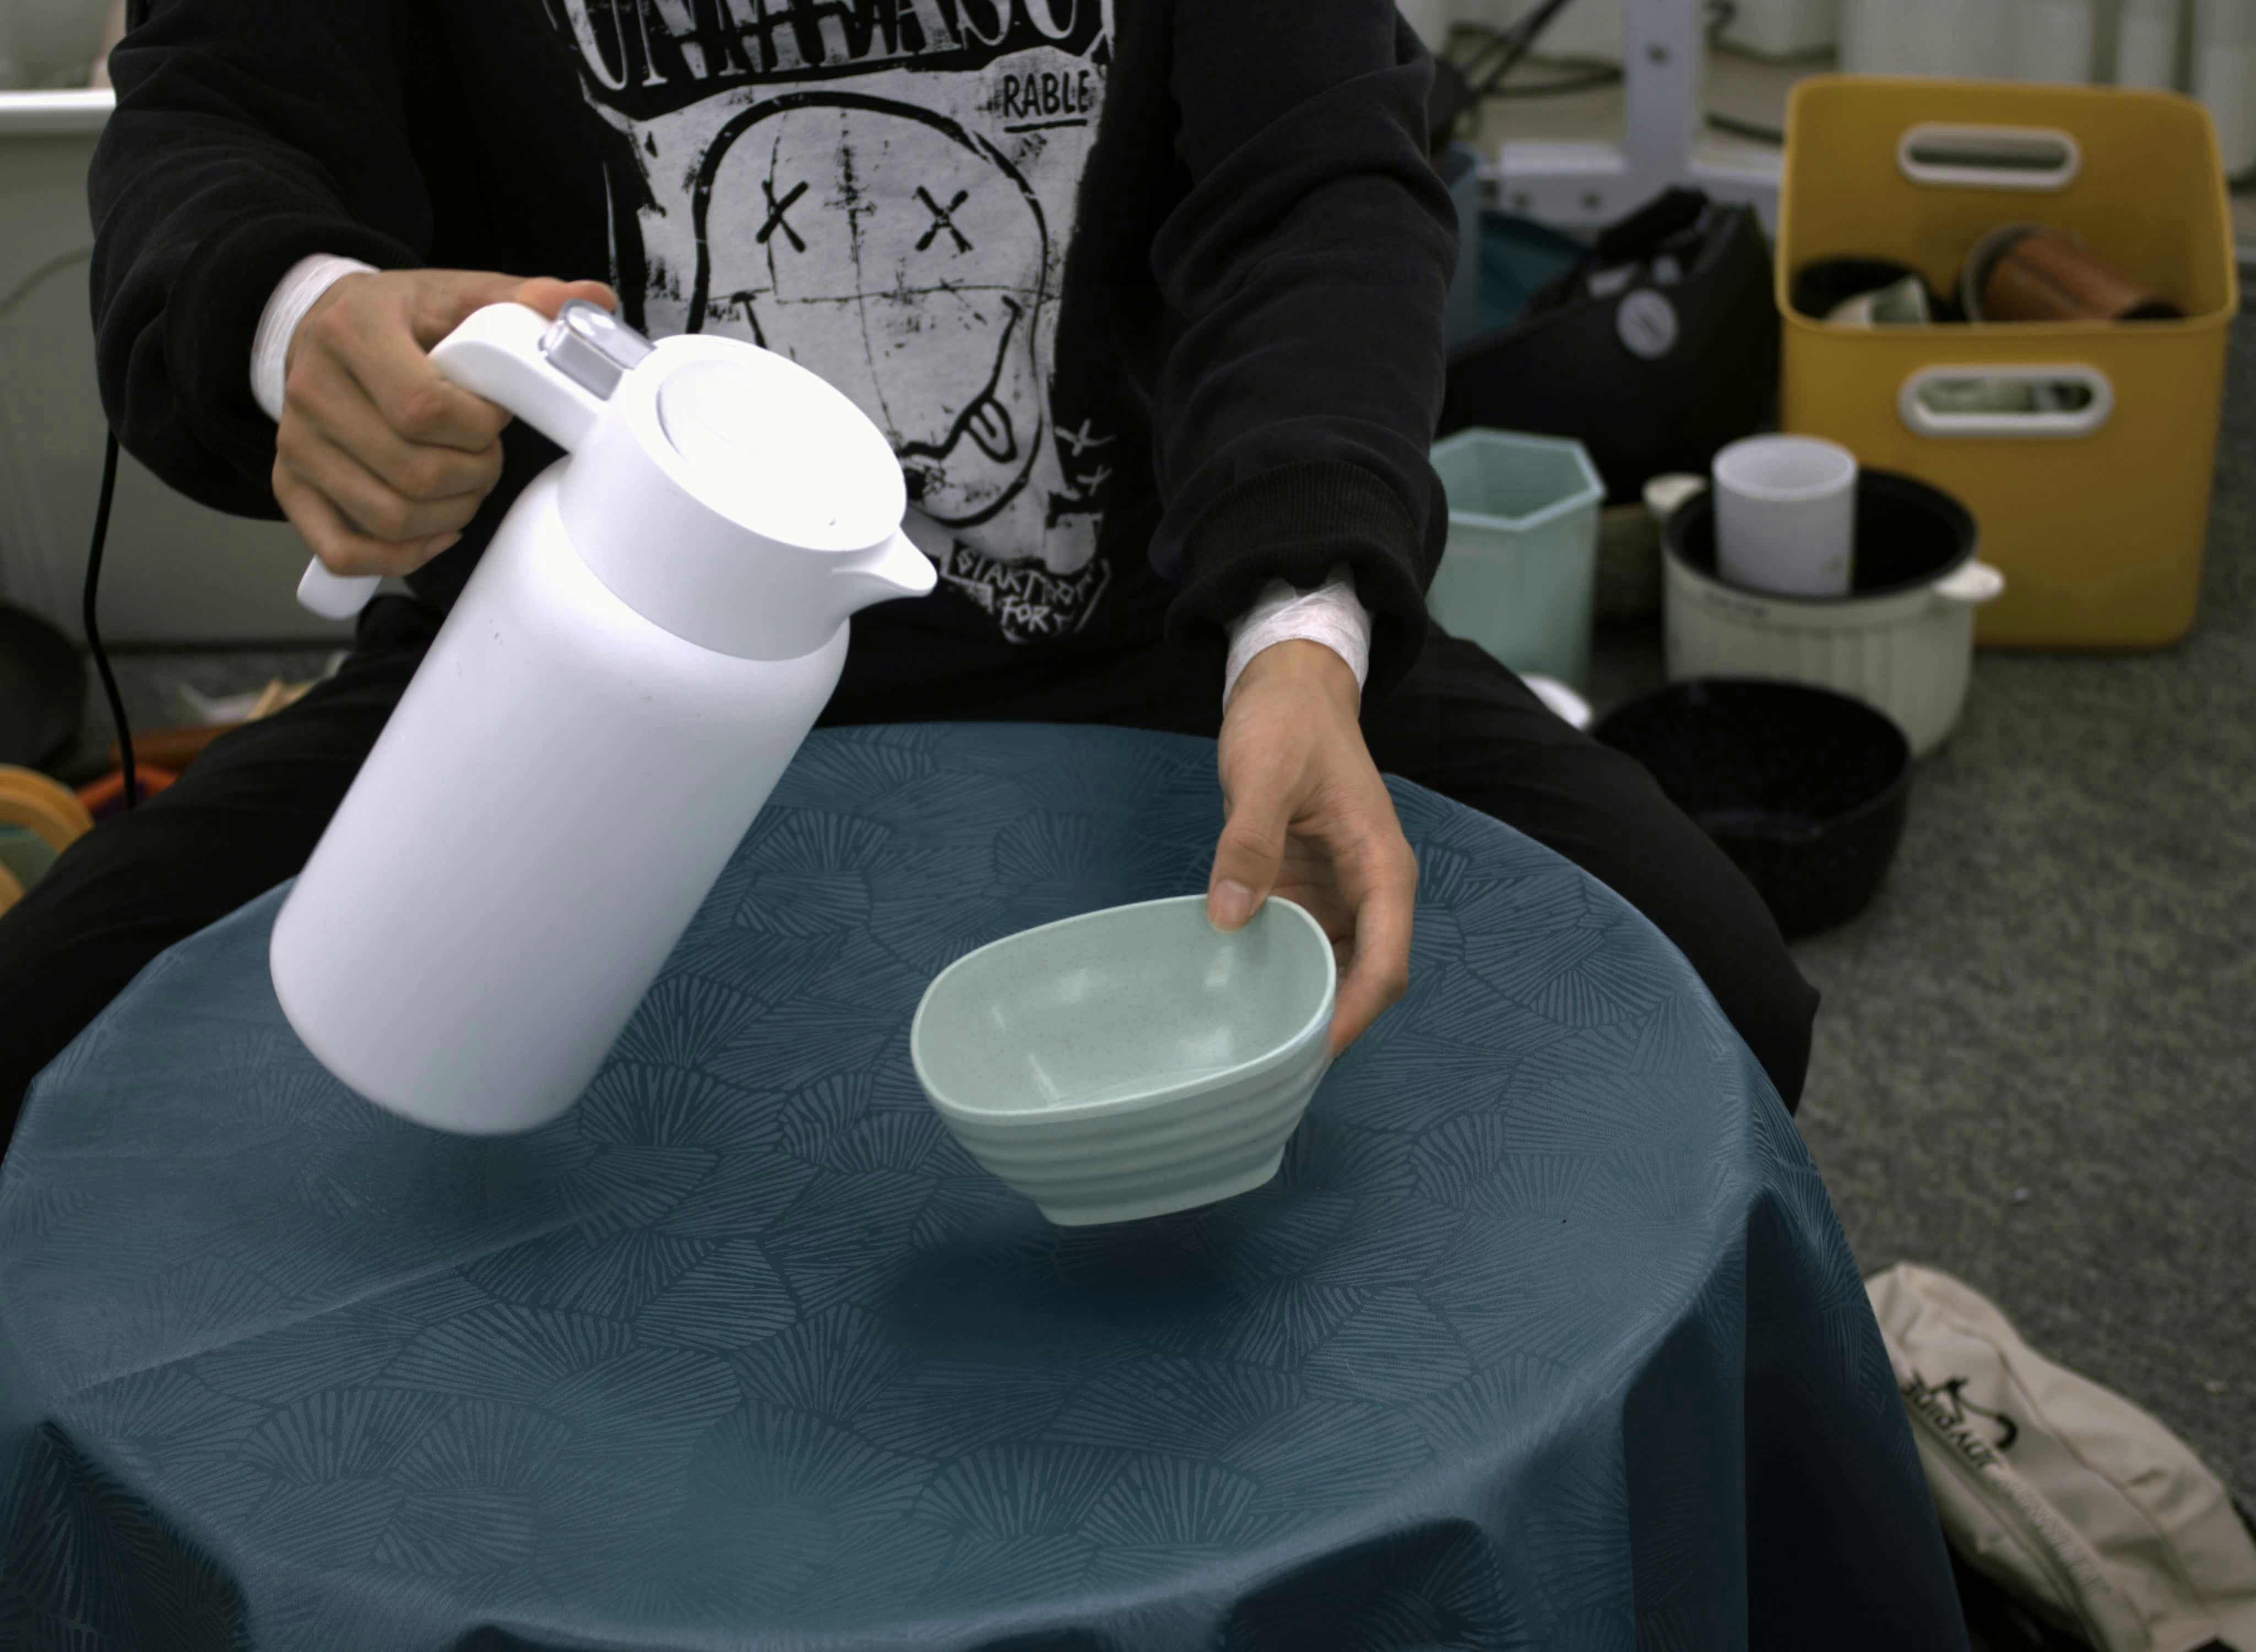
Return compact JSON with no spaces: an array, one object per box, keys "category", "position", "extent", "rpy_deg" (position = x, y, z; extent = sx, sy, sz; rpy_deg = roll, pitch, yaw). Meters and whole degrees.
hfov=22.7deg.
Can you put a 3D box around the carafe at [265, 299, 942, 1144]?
[{"category":"carafe","position":[-0.188,-0.036,1.795],"extent":[0.172,0.264,0.126],"rpy_deg":[33,33,0]}]

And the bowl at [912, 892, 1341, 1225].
[{"category":"bowl","position":[0.004,0.080,1.797],"extent":[0.150,0.058,0.153],"rpy_deg":[-9,24,5]}]
